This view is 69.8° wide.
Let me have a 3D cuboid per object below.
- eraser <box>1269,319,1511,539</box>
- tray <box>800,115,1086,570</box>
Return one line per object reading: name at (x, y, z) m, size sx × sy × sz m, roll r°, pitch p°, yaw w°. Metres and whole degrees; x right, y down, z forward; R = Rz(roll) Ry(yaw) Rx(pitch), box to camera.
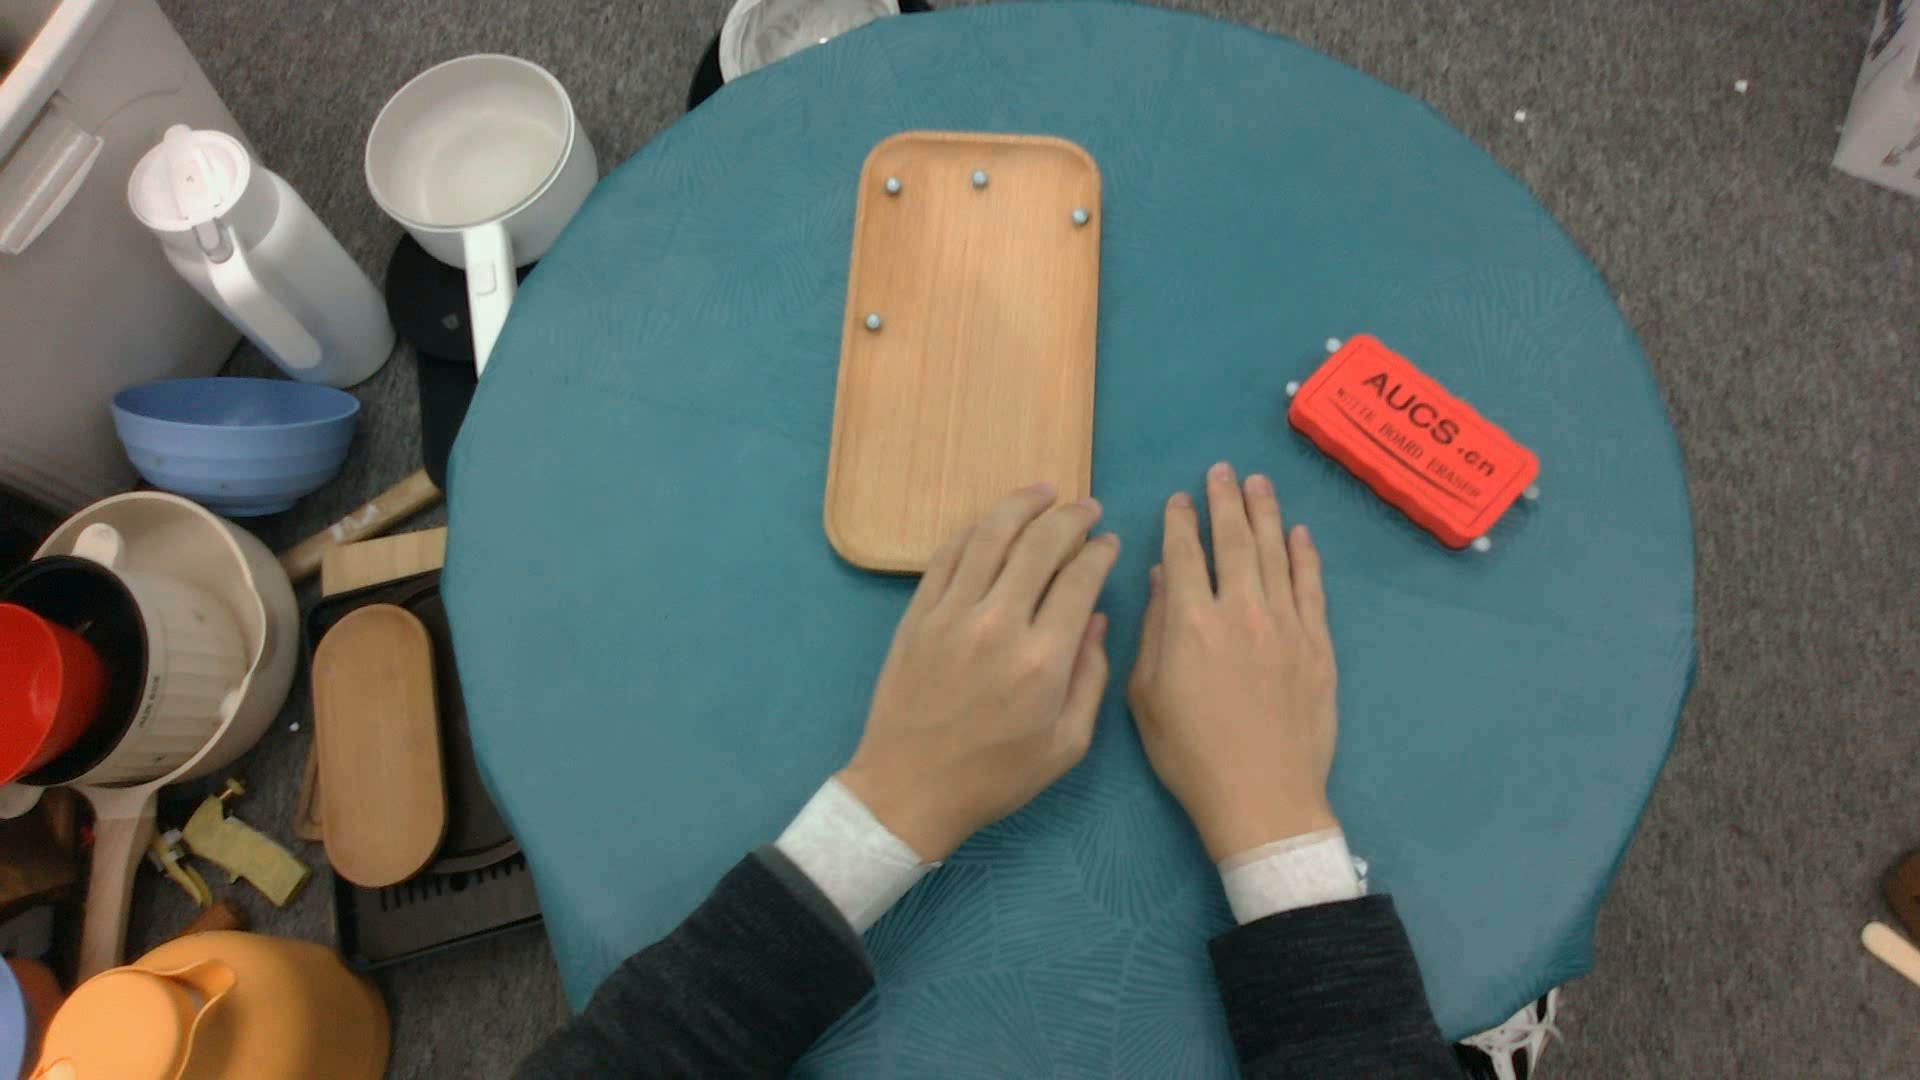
eraser at (0.206, -0.054, 0.665) m, size 0.108 × 0.023 × 0.059 m, roll 43°, pitch 76°, yaw 15°
tray at (-0.005, -0.104, 0.691) m, size 0.130 × 0.023 × 0.251 m, roll 3°, pitch 70°, yaw 4°
